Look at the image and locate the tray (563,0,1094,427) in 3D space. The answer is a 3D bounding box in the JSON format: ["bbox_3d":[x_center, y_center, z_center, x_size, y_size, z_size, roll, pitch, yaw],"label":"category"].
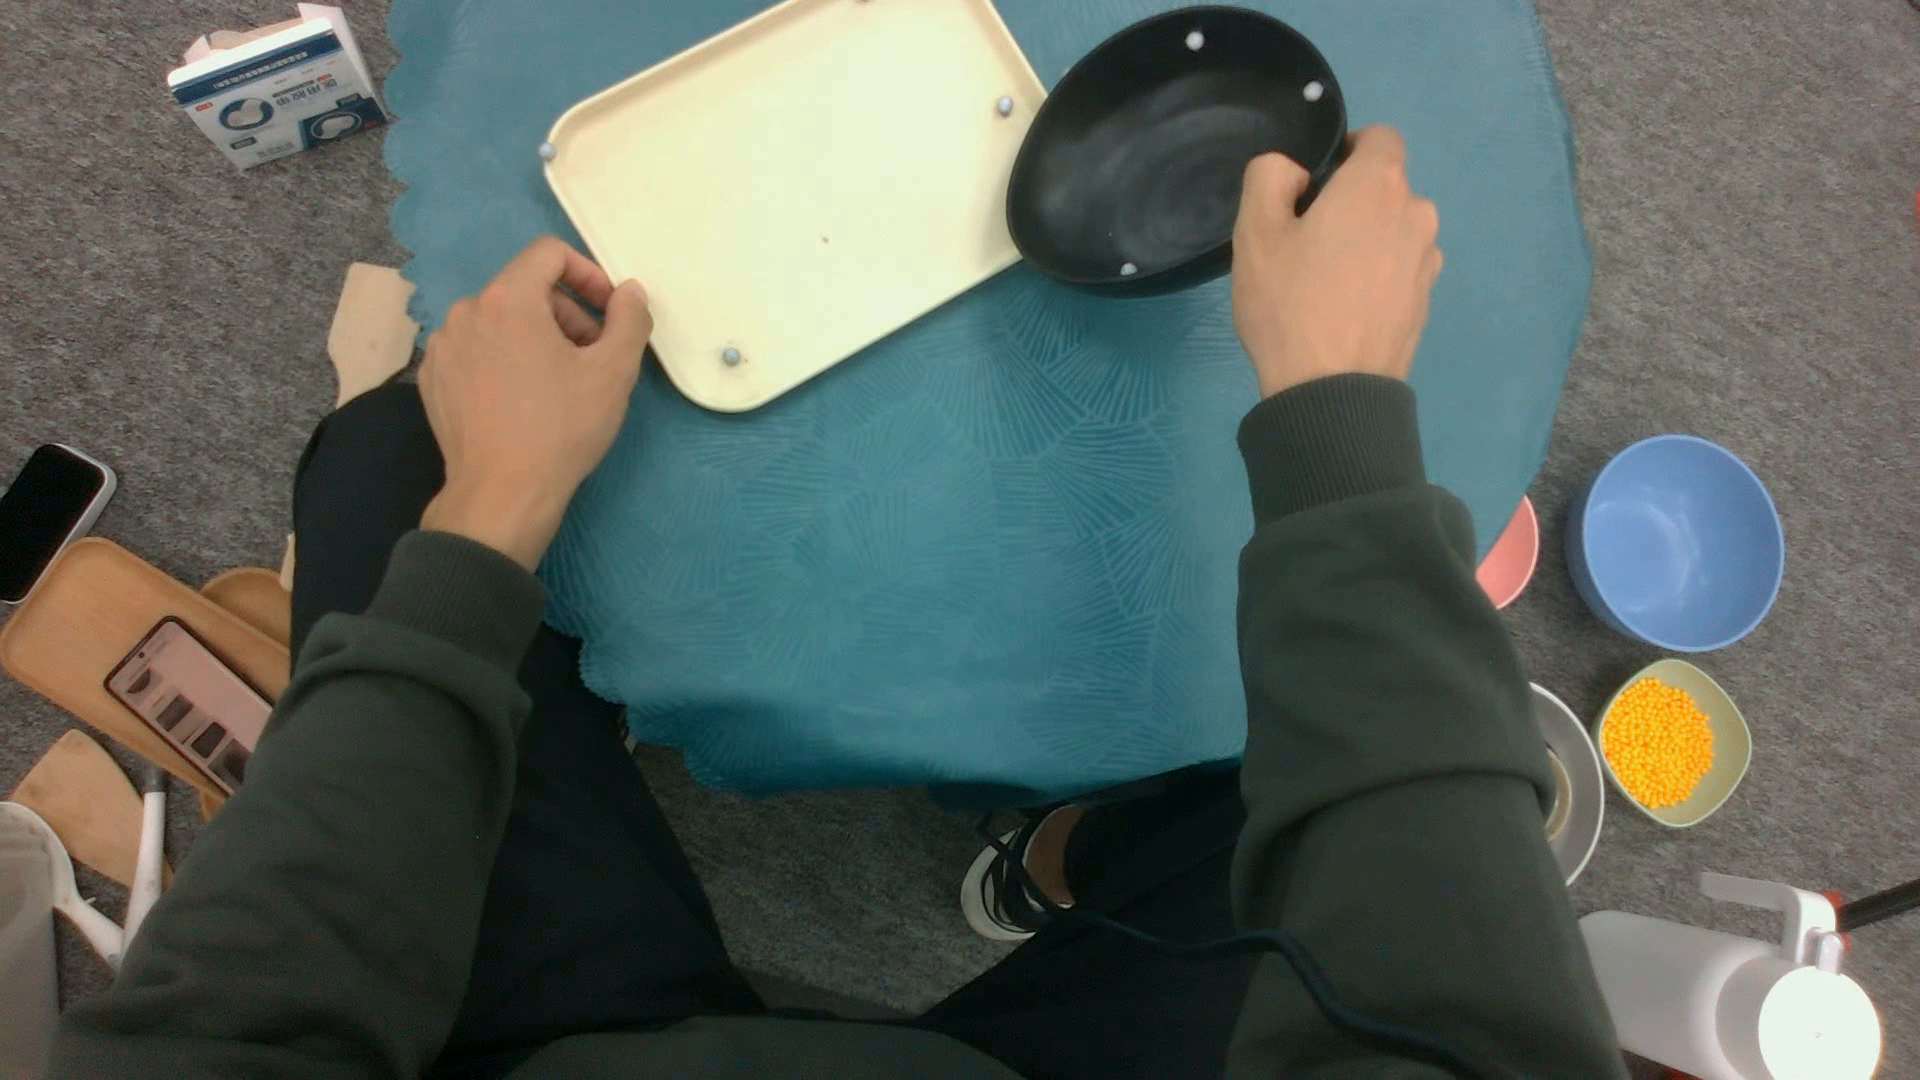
[{"bbox_3d":[-0.064,-0.176,0.703,0.240,0.017,0.171,-32,87,-11],"label":"tray"}]

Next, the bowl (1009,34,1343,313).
[{"bbox_3d":[0.108,-0.167,0.663,0.170,0.067,0.137,-3,72,36],"label":"bowl"}]
